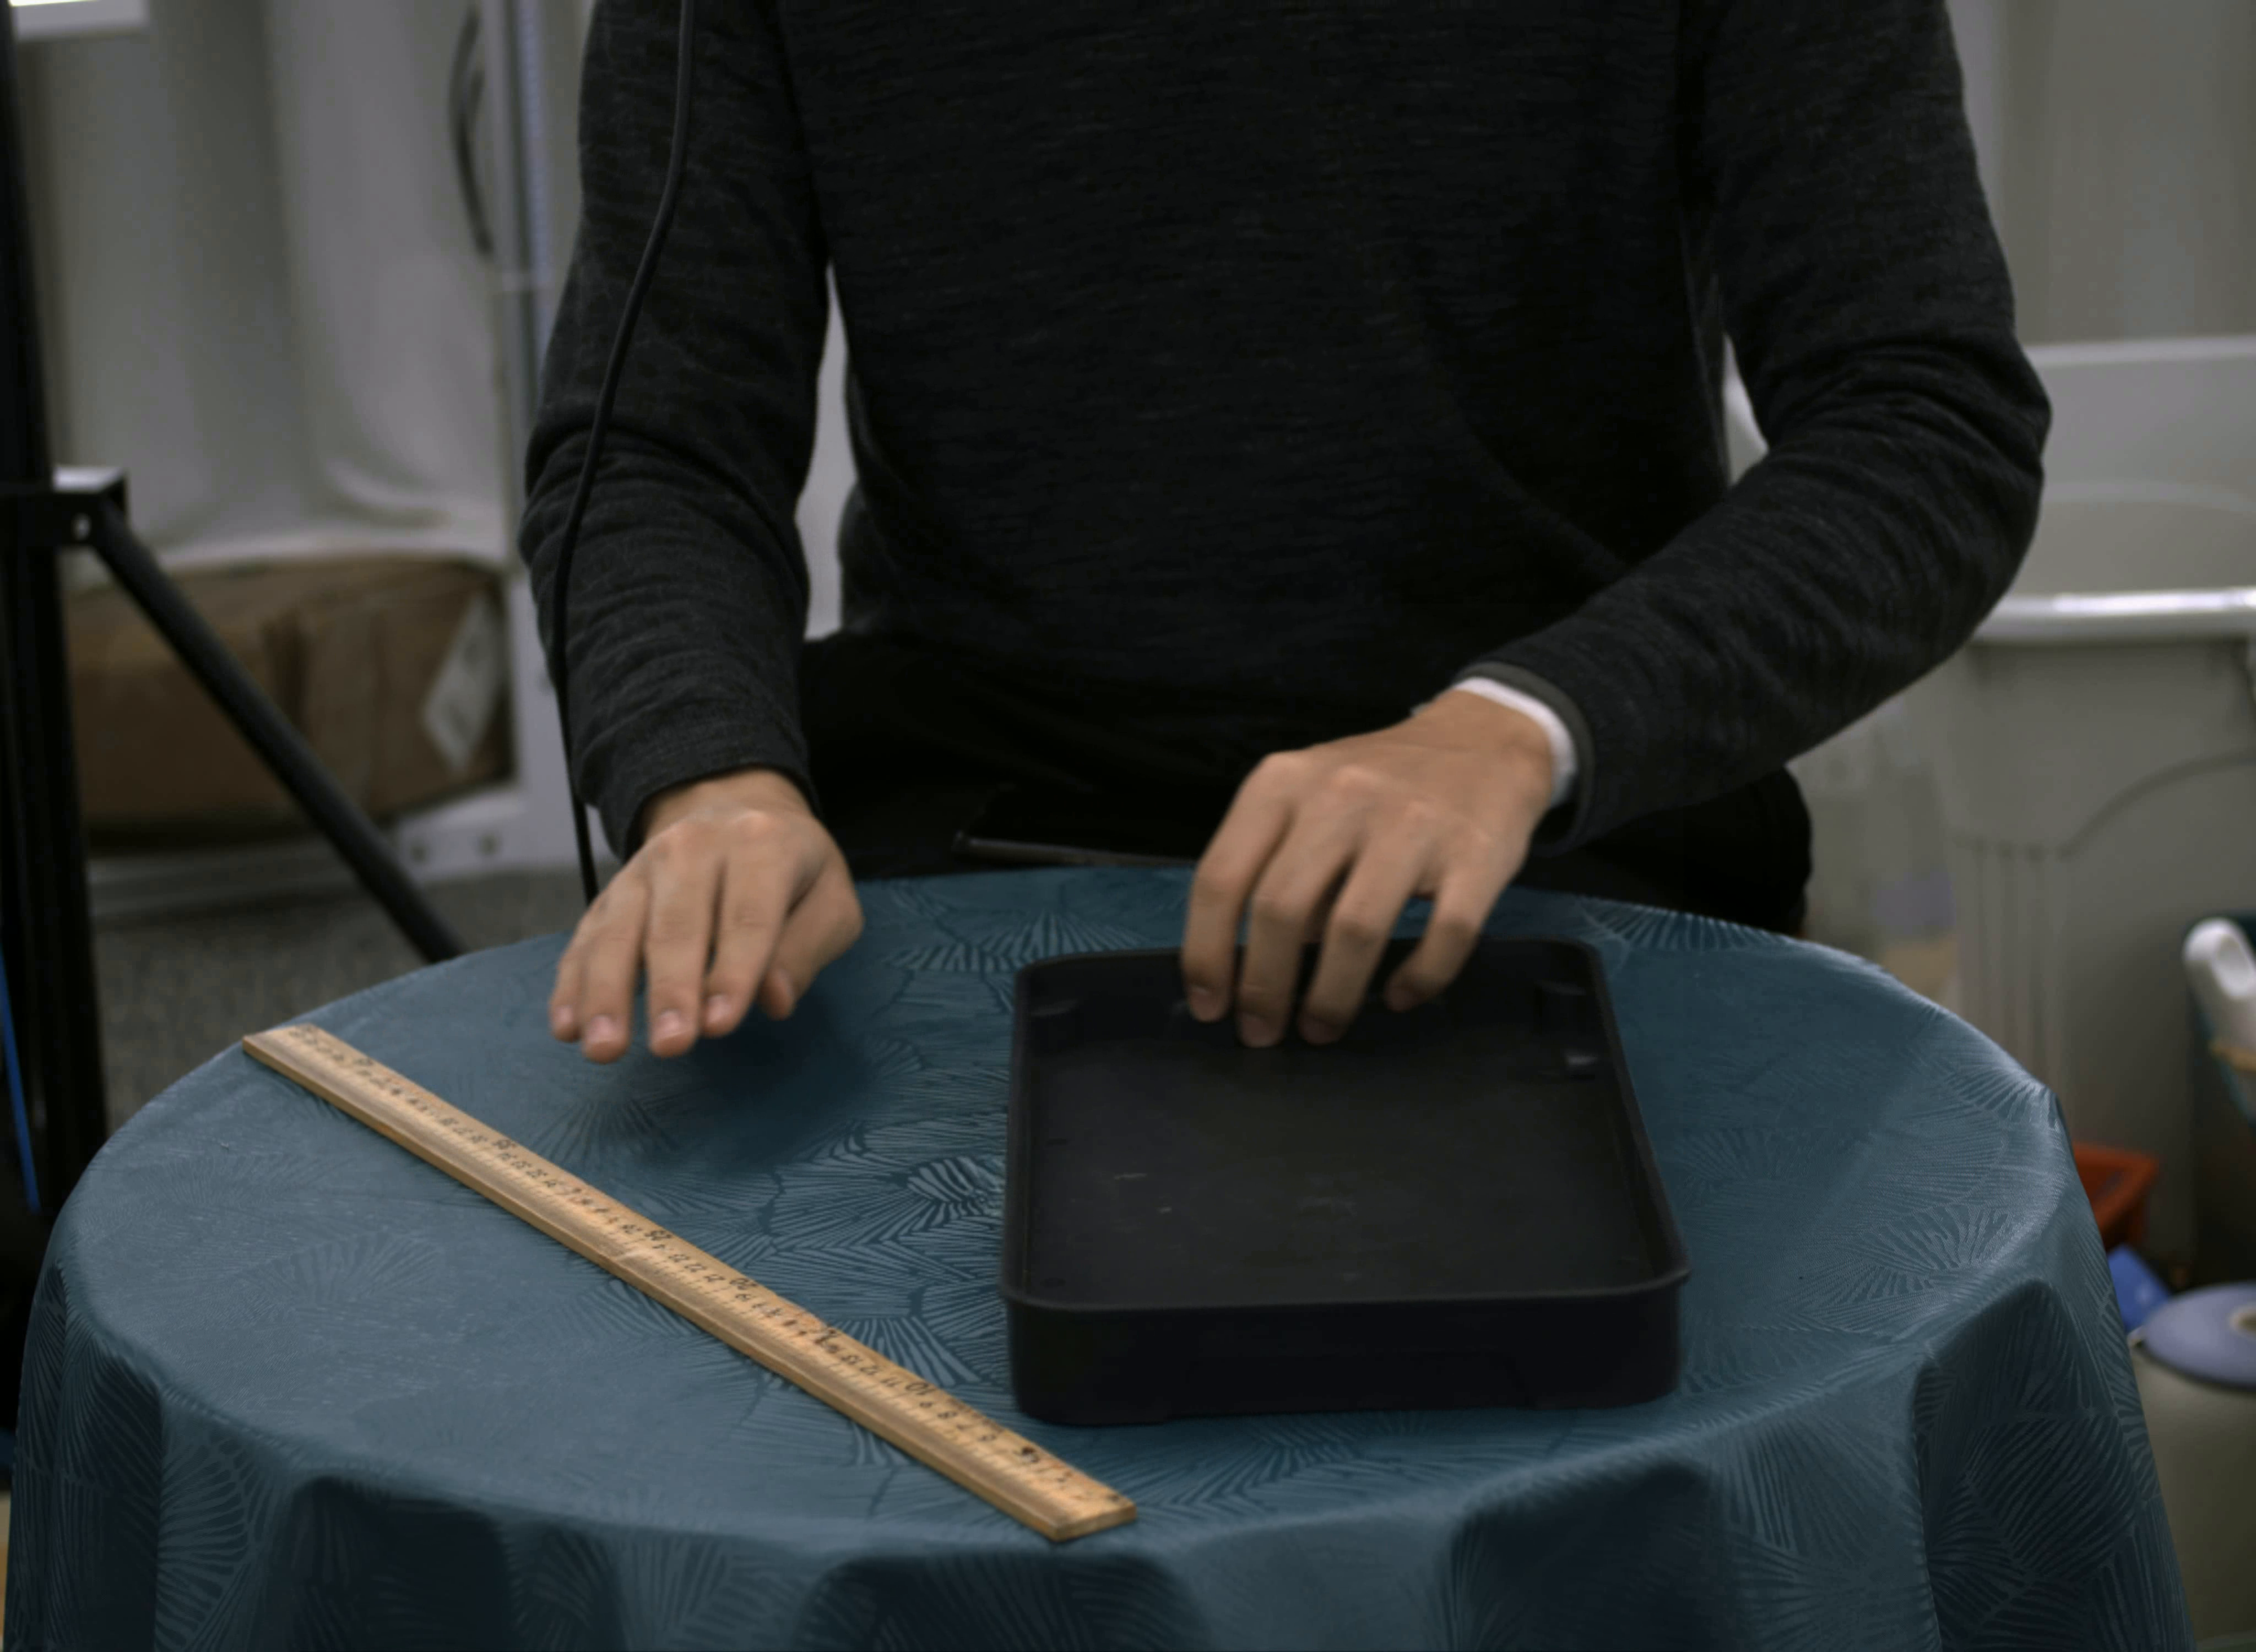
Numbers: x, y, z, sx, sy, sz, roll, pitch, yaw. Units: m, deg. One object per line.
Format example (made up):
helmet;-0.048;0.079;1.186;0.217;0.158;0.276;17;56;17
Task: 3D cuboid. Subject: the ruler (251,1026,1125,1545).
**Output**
ruler;-0.141;0.121;1.524;0.026;0.006;0.511;-9;17;-30

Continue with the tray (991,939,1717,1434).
tray;0.057;0.097;1.520;0.183;0.037;0.320;-3;15;-2
